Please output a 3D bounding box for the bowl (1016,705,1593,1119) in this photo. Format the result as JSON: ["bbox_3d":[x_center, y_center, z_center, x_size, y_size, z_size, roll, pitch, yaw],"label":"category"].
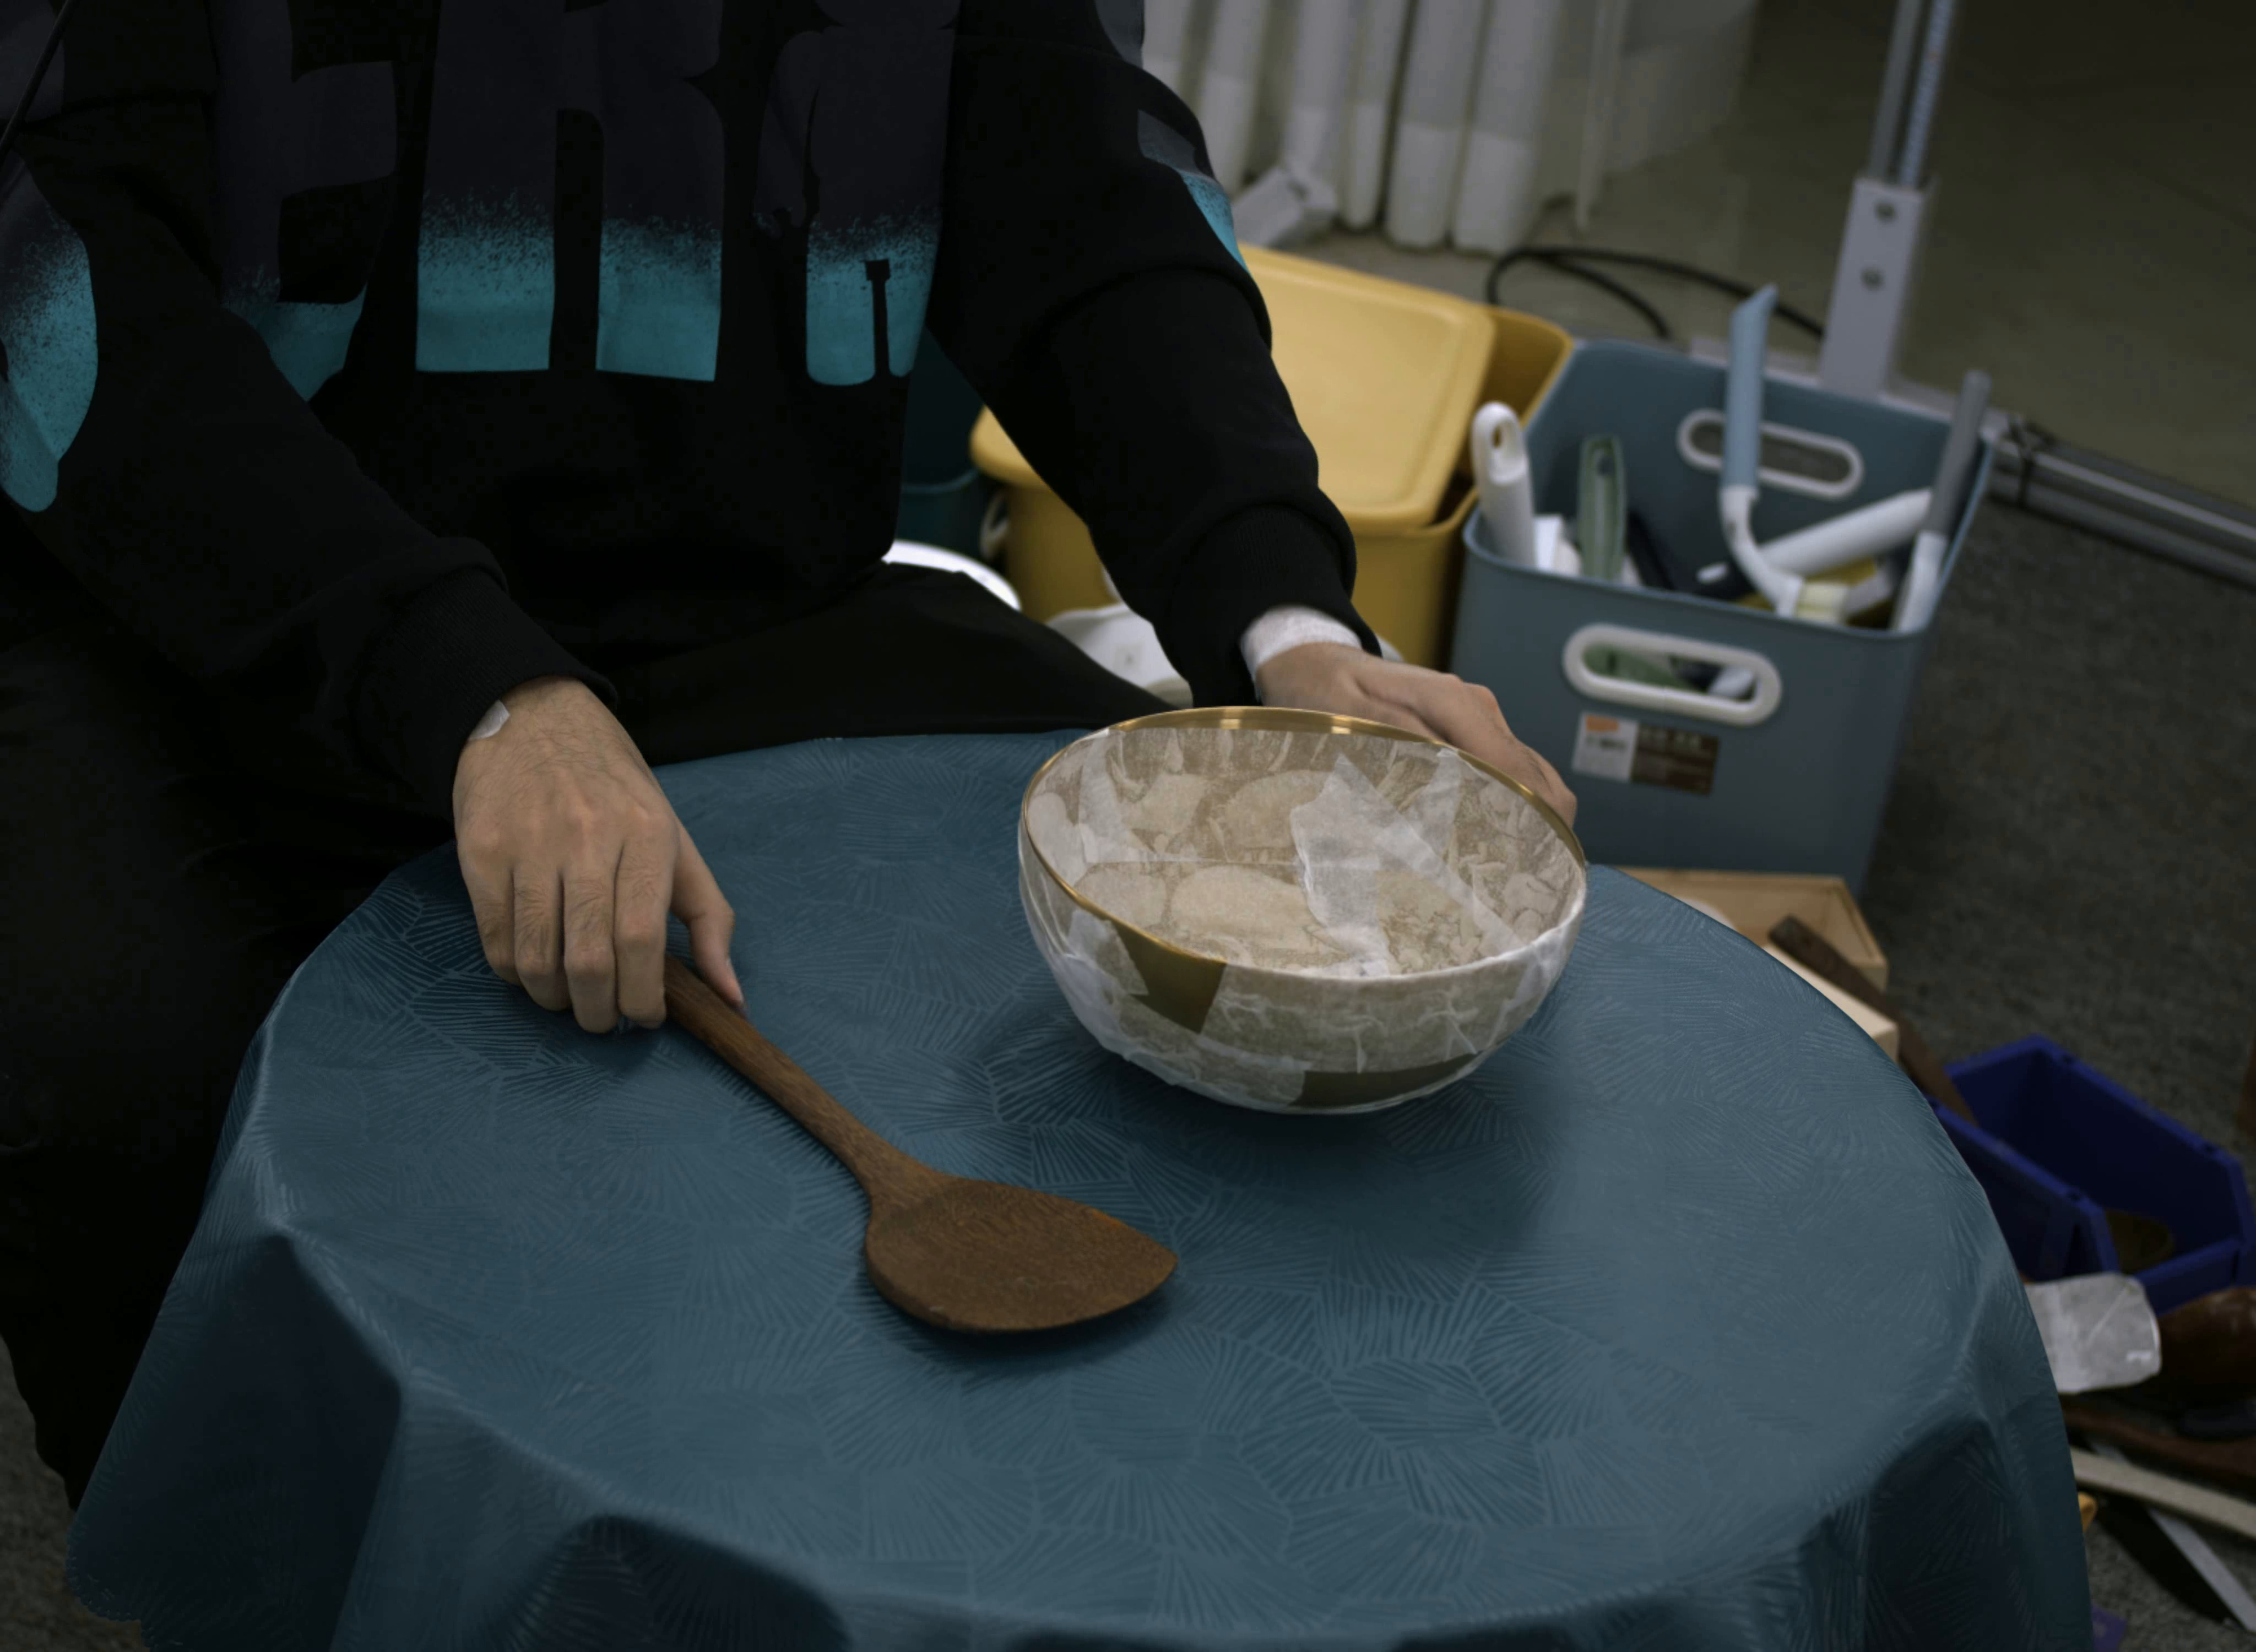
[{"bbox_3d":[0.058,0.041,1.874,0.214,0.094,0.216,3,26,-2],"label":"bowl"}]

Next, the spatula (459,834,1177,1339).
[{"bbox_3d":[-0.127,0.082,1.839,0.095,0.016,0.389,-14,33,-35],"label":"spatula"}]
